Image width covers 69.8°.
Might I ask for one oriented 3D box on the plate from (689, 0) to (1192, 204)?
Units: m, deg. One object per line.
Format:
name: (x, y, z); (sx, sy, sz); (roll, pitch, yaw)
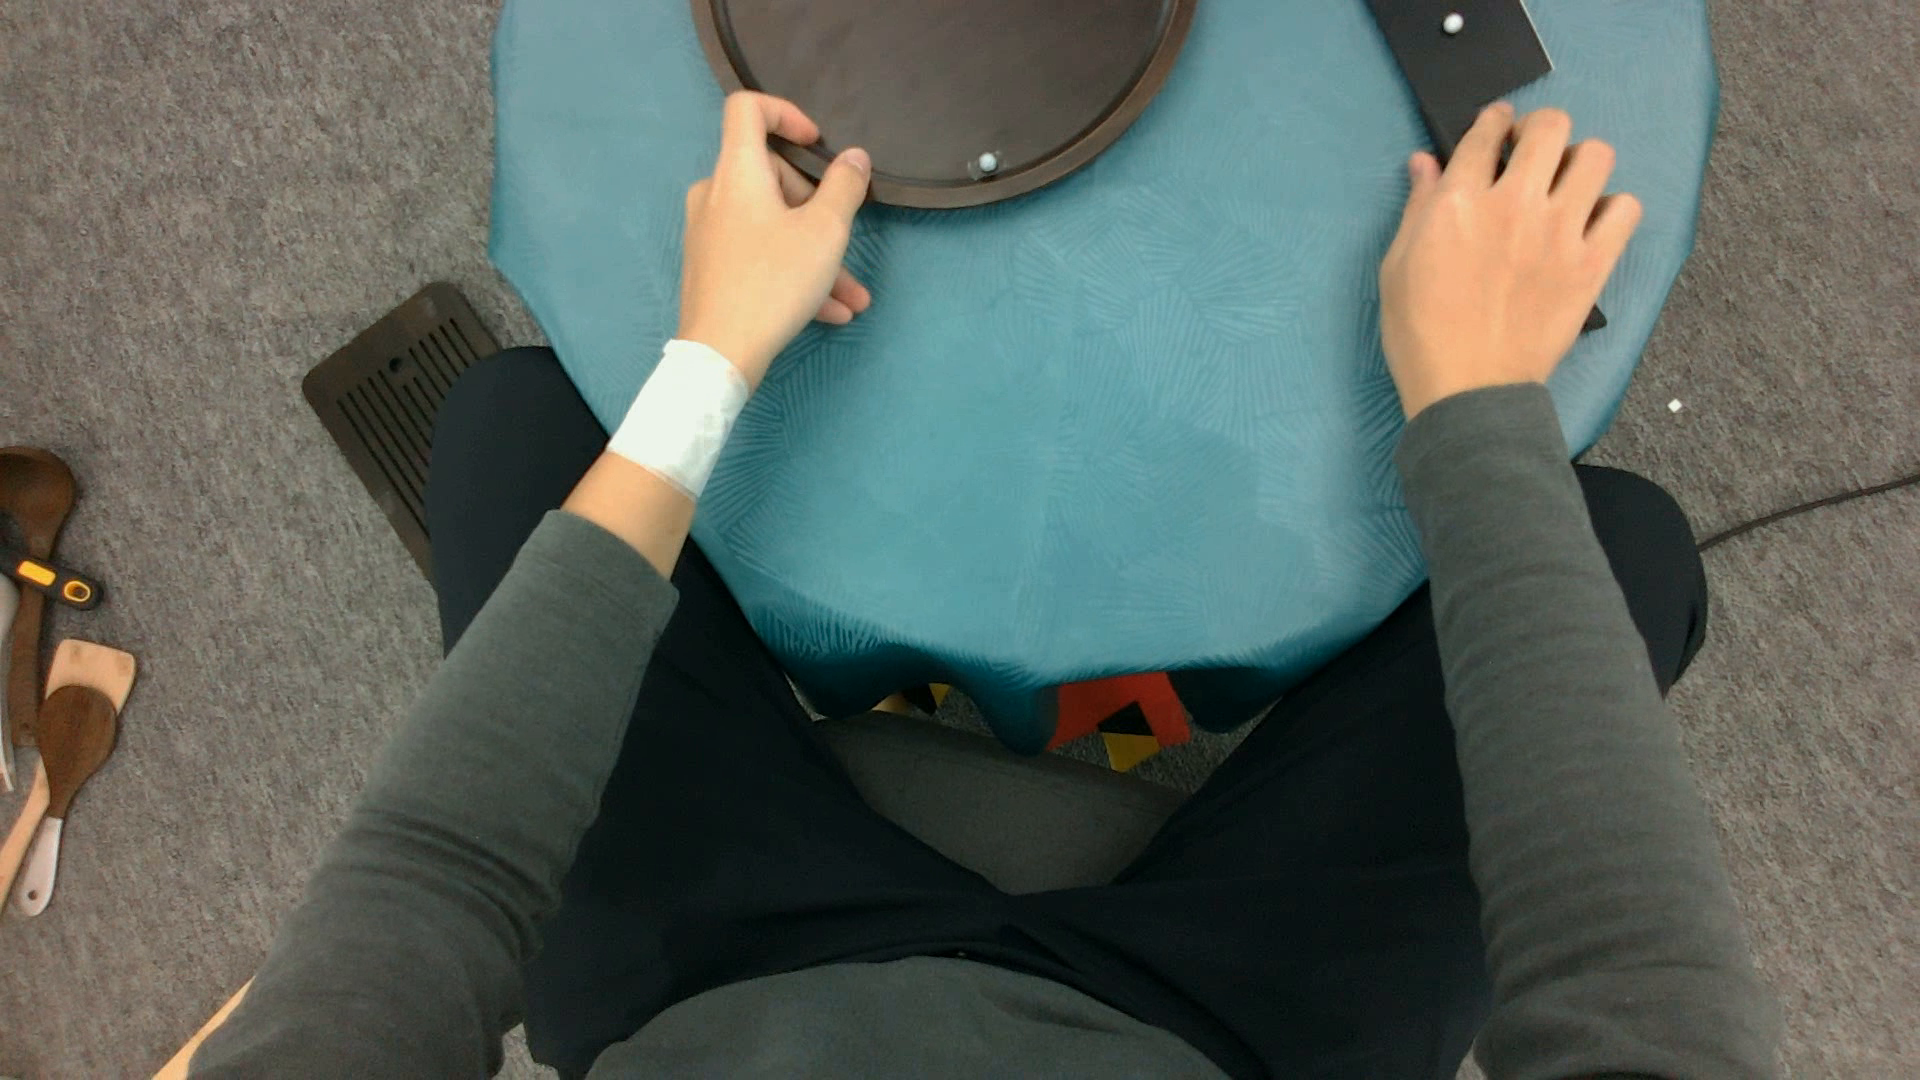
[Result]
plate: (-0.010, -0.288, 0.683); (0.255, 0.029, 0.255); (0, 84, 3)

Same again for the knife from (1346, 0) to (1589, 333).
knife: (0.233, -0.238, 0.668); (0.081, 0.021, 0.302); (-19, 82, 1)
